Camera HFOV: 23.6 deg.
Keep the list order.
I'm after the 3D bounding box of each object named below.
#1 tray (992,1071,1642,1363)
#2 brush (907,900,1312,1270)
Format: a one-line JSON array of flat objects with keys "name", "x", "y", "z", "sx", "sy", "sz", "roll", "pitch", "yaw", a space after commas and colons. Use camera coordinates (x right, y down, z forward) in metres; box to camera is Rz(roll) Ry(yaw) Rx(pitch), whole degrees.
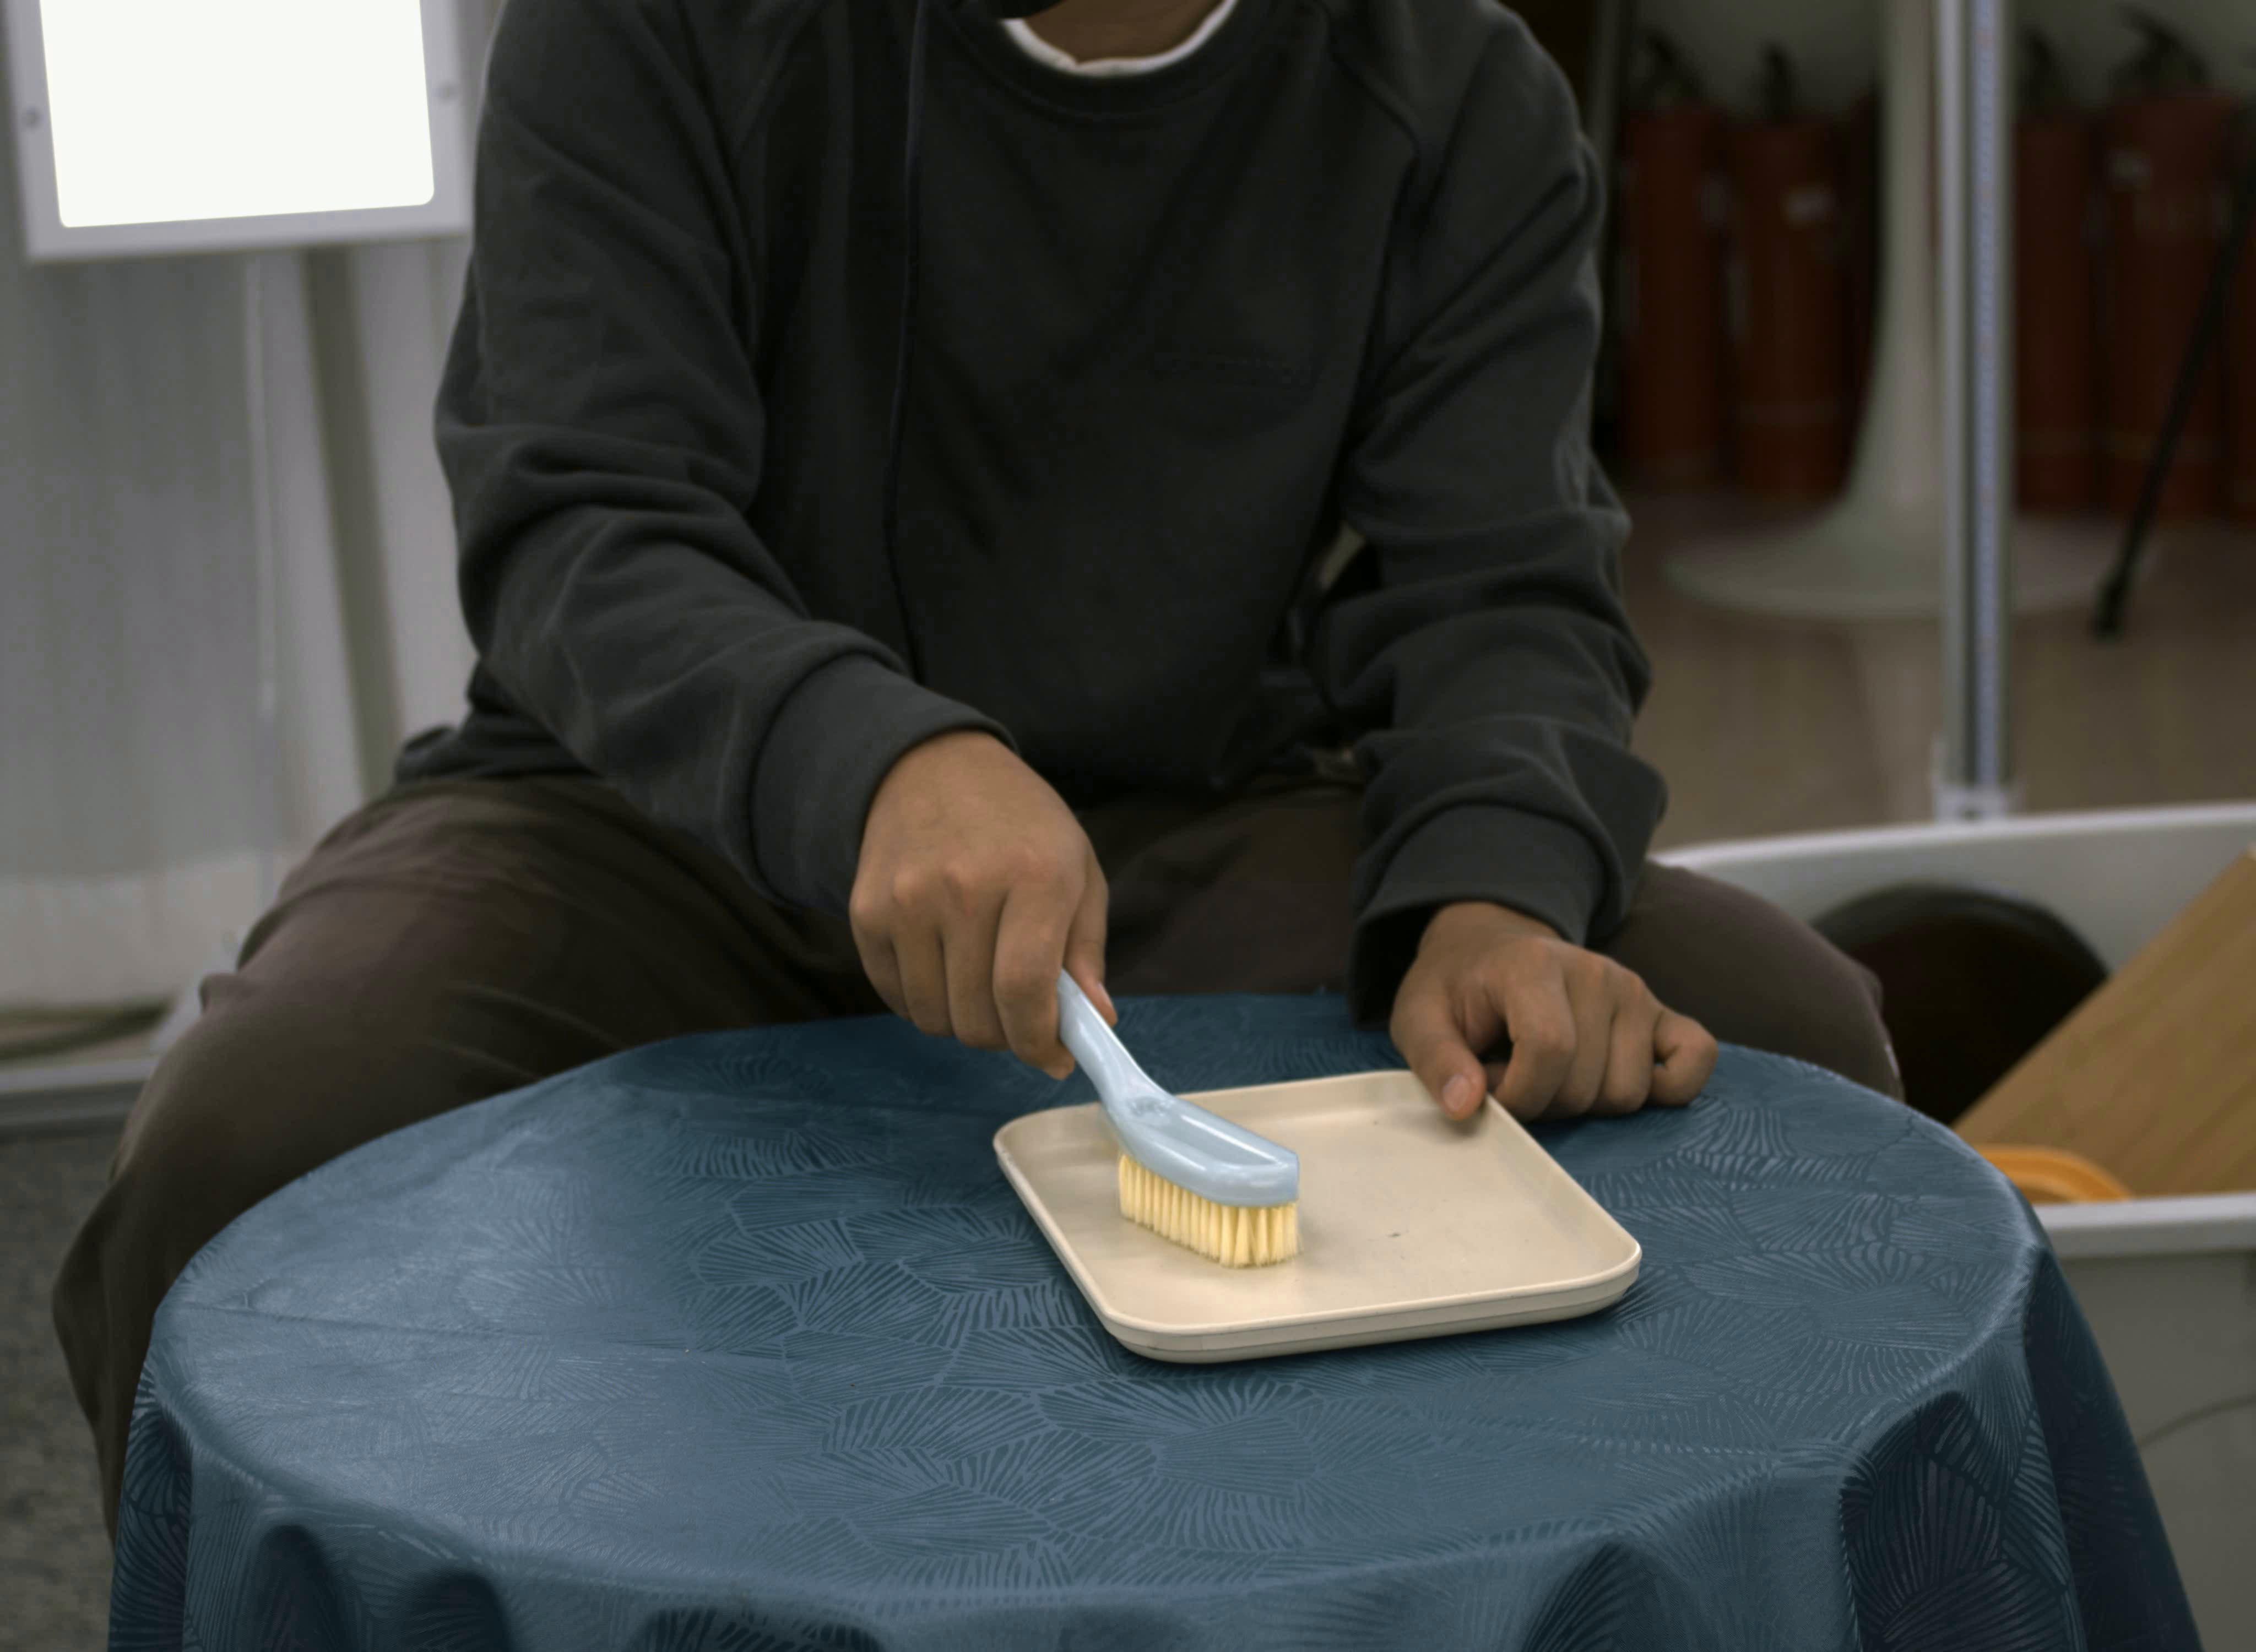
[{"name": "tray", "x": 0.056, "y": 0.123, "z": 1.712, "sx": 0.168, "sy": 0.017, "sz": 0.241, "roll": -6, "pitch": 14, "yaw": -10}, {"name": "brush", "x": -0.011, "y": 0.083, "z": 1.763, "sx": 0.037, "sy": 0.050, "sz": 0.231, "roll": -9, "pitch": 30, "yaw": -30}]
